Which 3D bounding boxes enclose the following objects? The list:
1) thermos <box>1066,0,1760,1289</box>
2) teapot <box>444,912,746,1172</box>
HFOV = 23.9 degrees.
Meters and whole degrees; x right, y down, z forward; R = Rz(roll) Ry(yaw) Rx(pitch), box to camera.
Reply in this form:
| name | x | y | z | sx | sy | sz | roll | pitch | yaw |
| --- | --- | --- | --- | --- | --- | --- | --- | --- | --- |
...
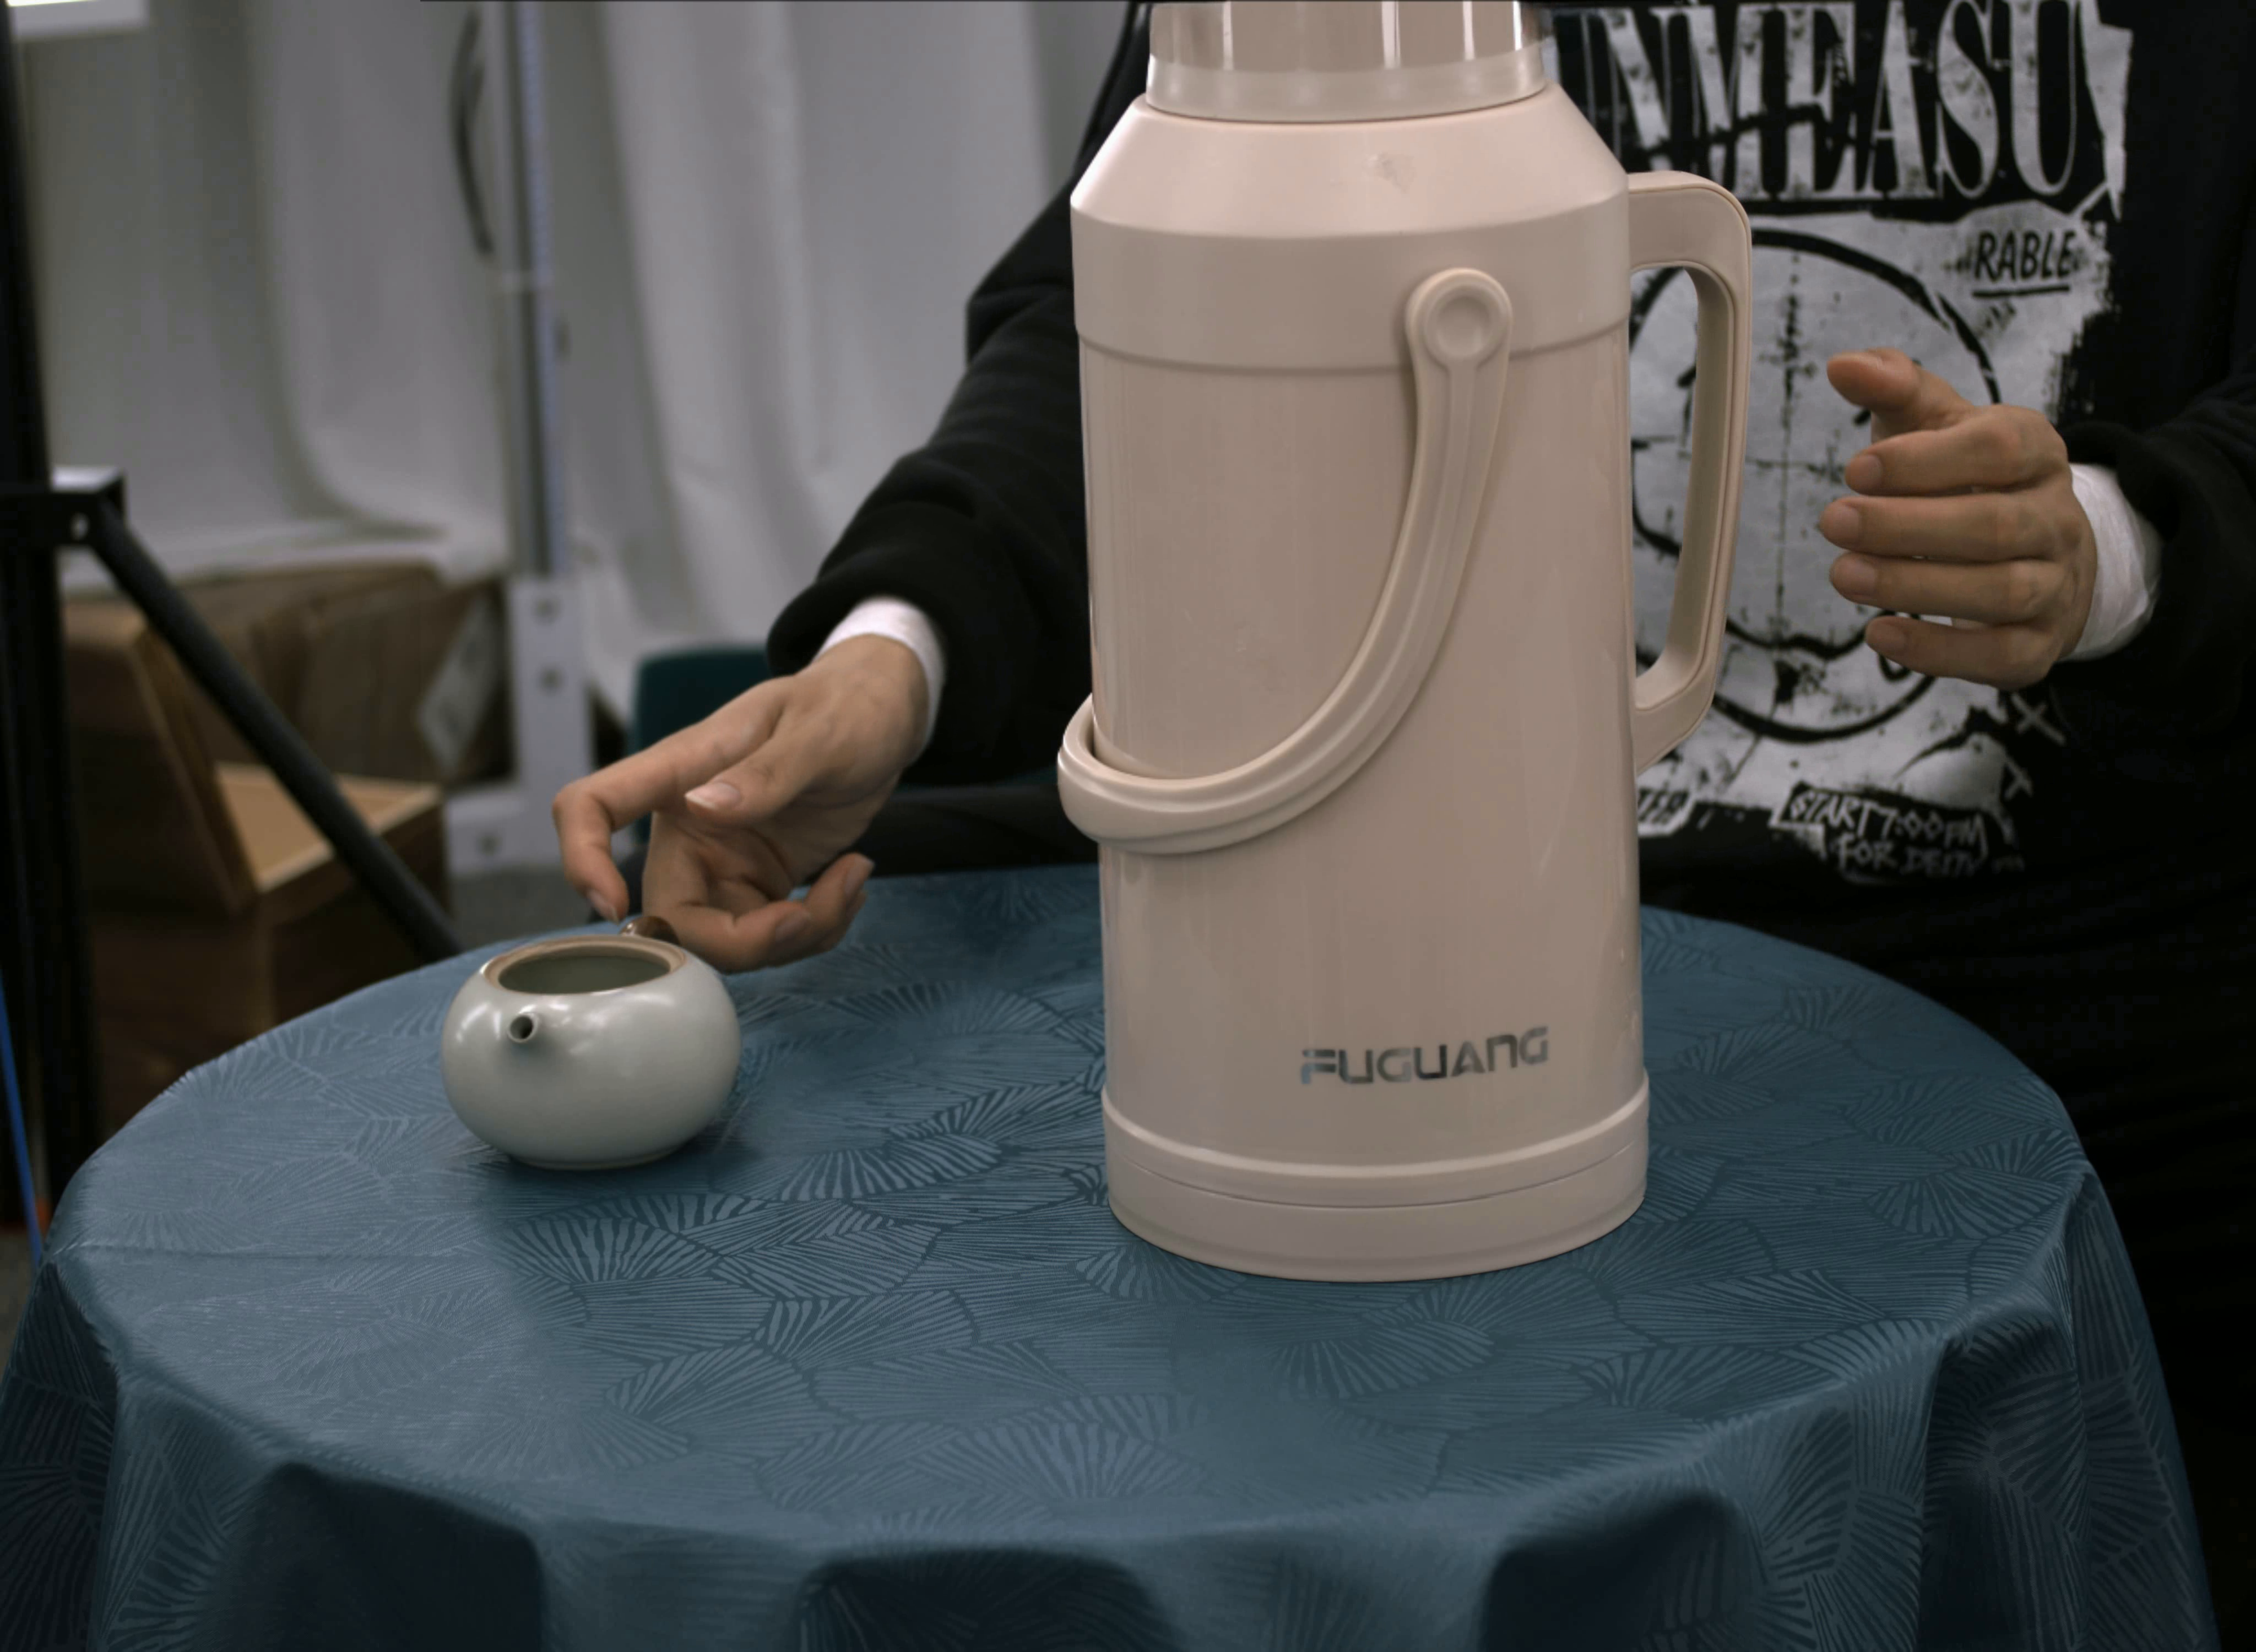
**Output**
| name | x | y | z | sx | sy | sz | roll | pitch | yaw |
| --- | --- | --- | --- | --- | --- | --- | --- | --- | --- |
| thermos | 0.081 | -0.085 | 1.499 | 0.203 | 0.406 | 0.178 | -7 | 14 | -16 |
| teapot | -0.159 | 0.066 | 1.623 | 0.092 | 0.059 | 0.127 | -3 | 16 | 17 |
